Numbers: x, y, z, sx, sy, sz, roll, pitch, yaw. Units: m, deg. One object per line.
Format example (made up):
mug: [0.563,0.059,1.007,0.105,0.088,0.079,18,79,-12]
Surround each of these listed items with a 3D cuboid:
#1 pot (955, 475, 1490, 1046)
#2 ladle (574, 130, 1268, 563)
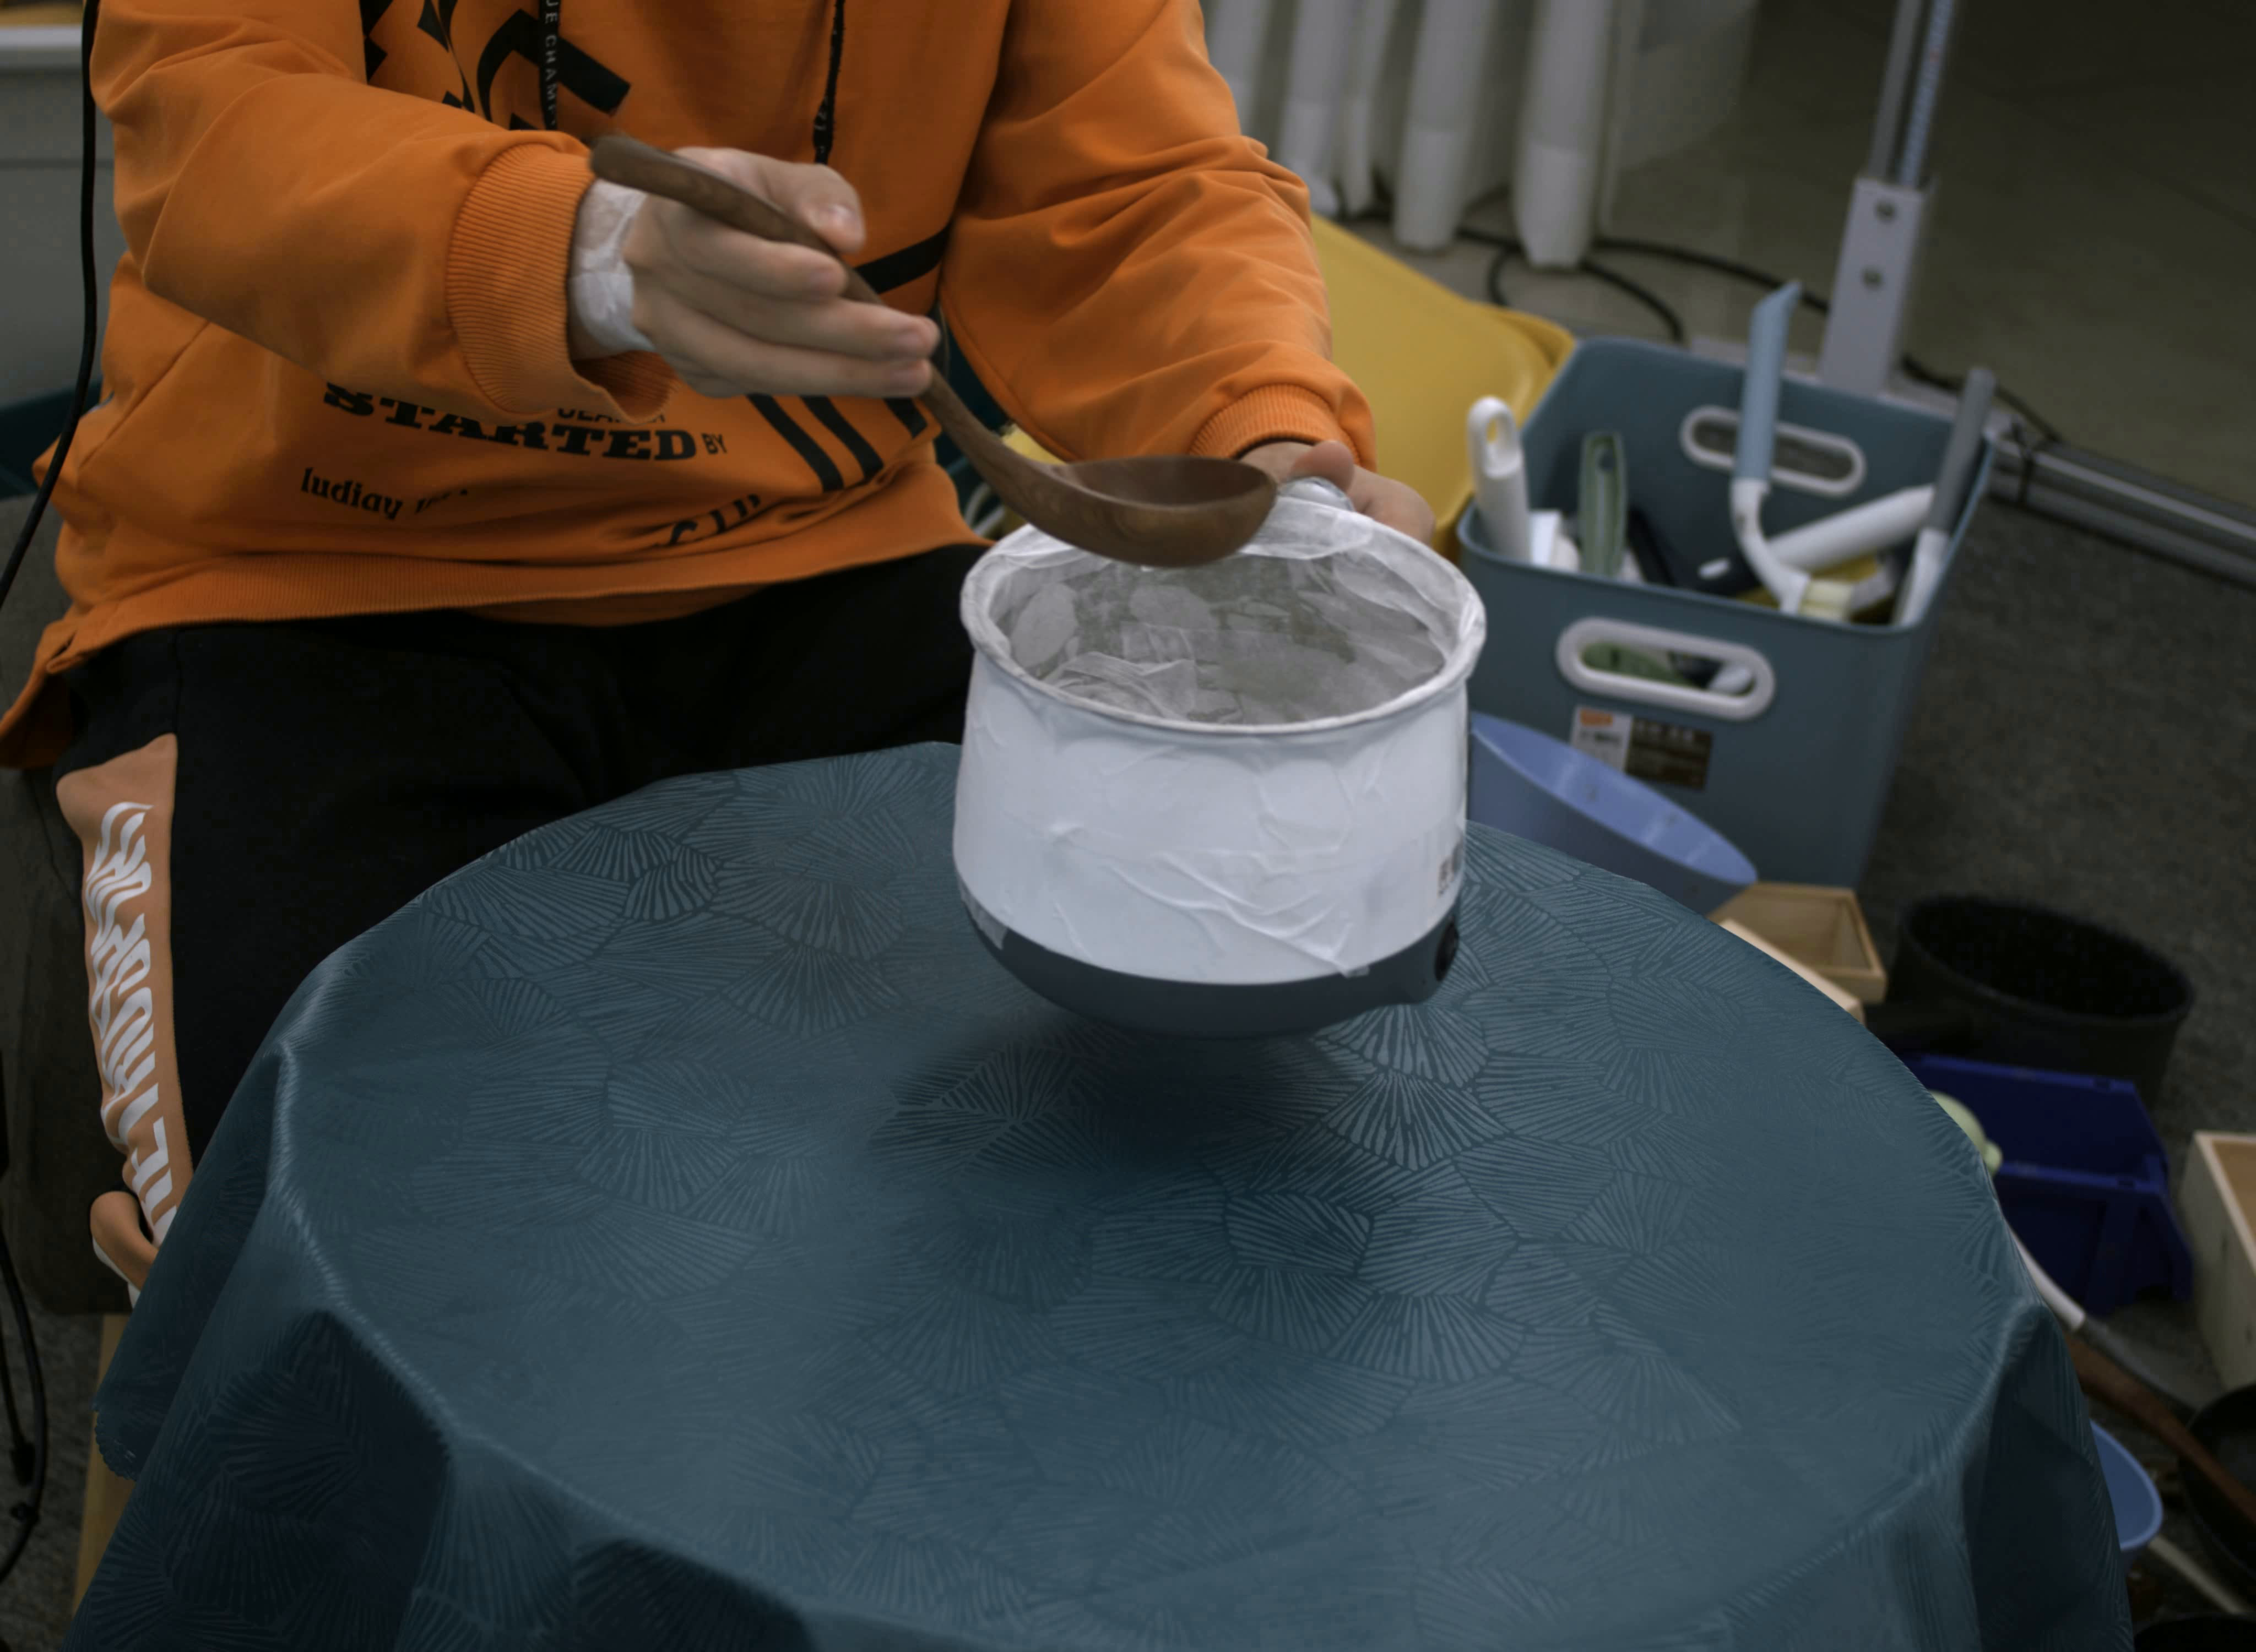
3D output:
pot: [0.039,-0.031,1.841,0.179,0.136,0.234,12,31,15]
ladle: [-0.063,-0.163,1.715,0.258,0.065,0.077,38,-5,-23]
